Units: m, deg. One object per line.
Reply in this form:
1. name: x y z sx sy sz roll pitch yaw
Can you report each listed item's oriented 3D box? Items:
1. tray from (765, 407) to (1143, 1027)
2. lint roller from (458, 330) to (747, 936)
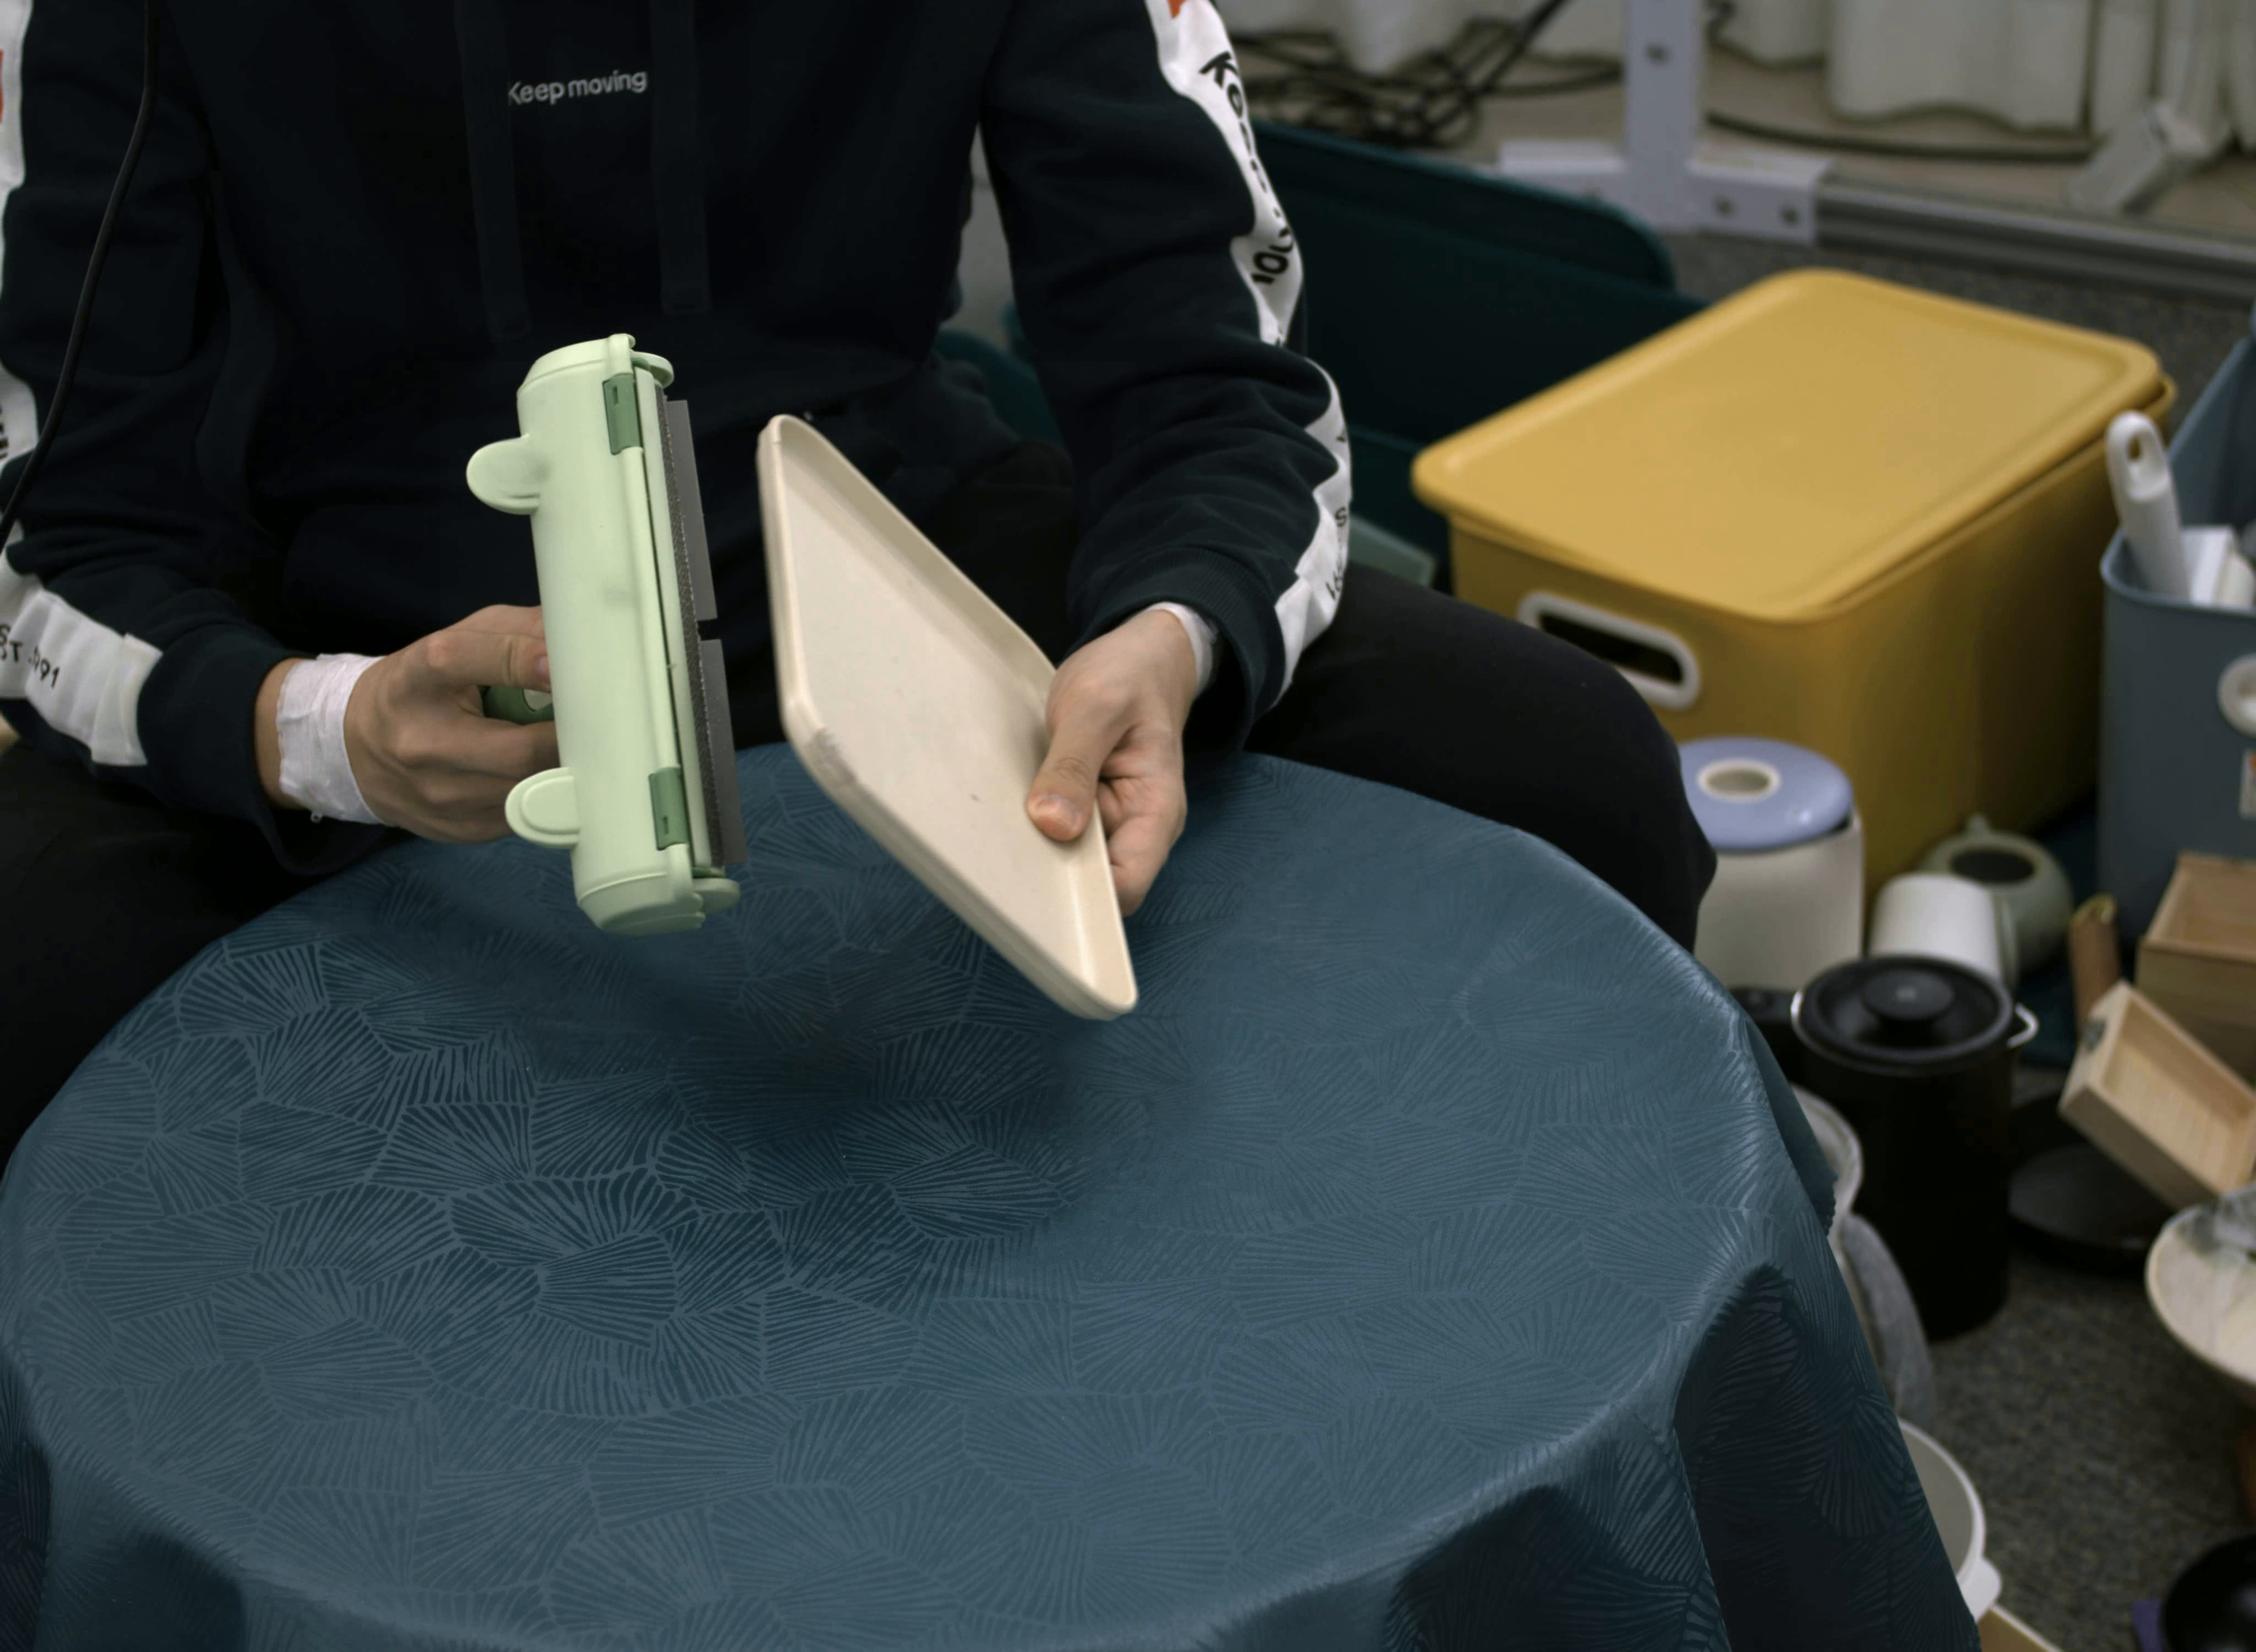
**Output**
1. tray: -0.063 -0.037 1.925 0.017 0.170 0.243 -37 29 15
2. lint roller: -0.203 -0.049 1.912 0.082 0.201 0.180 2 -17 -37
